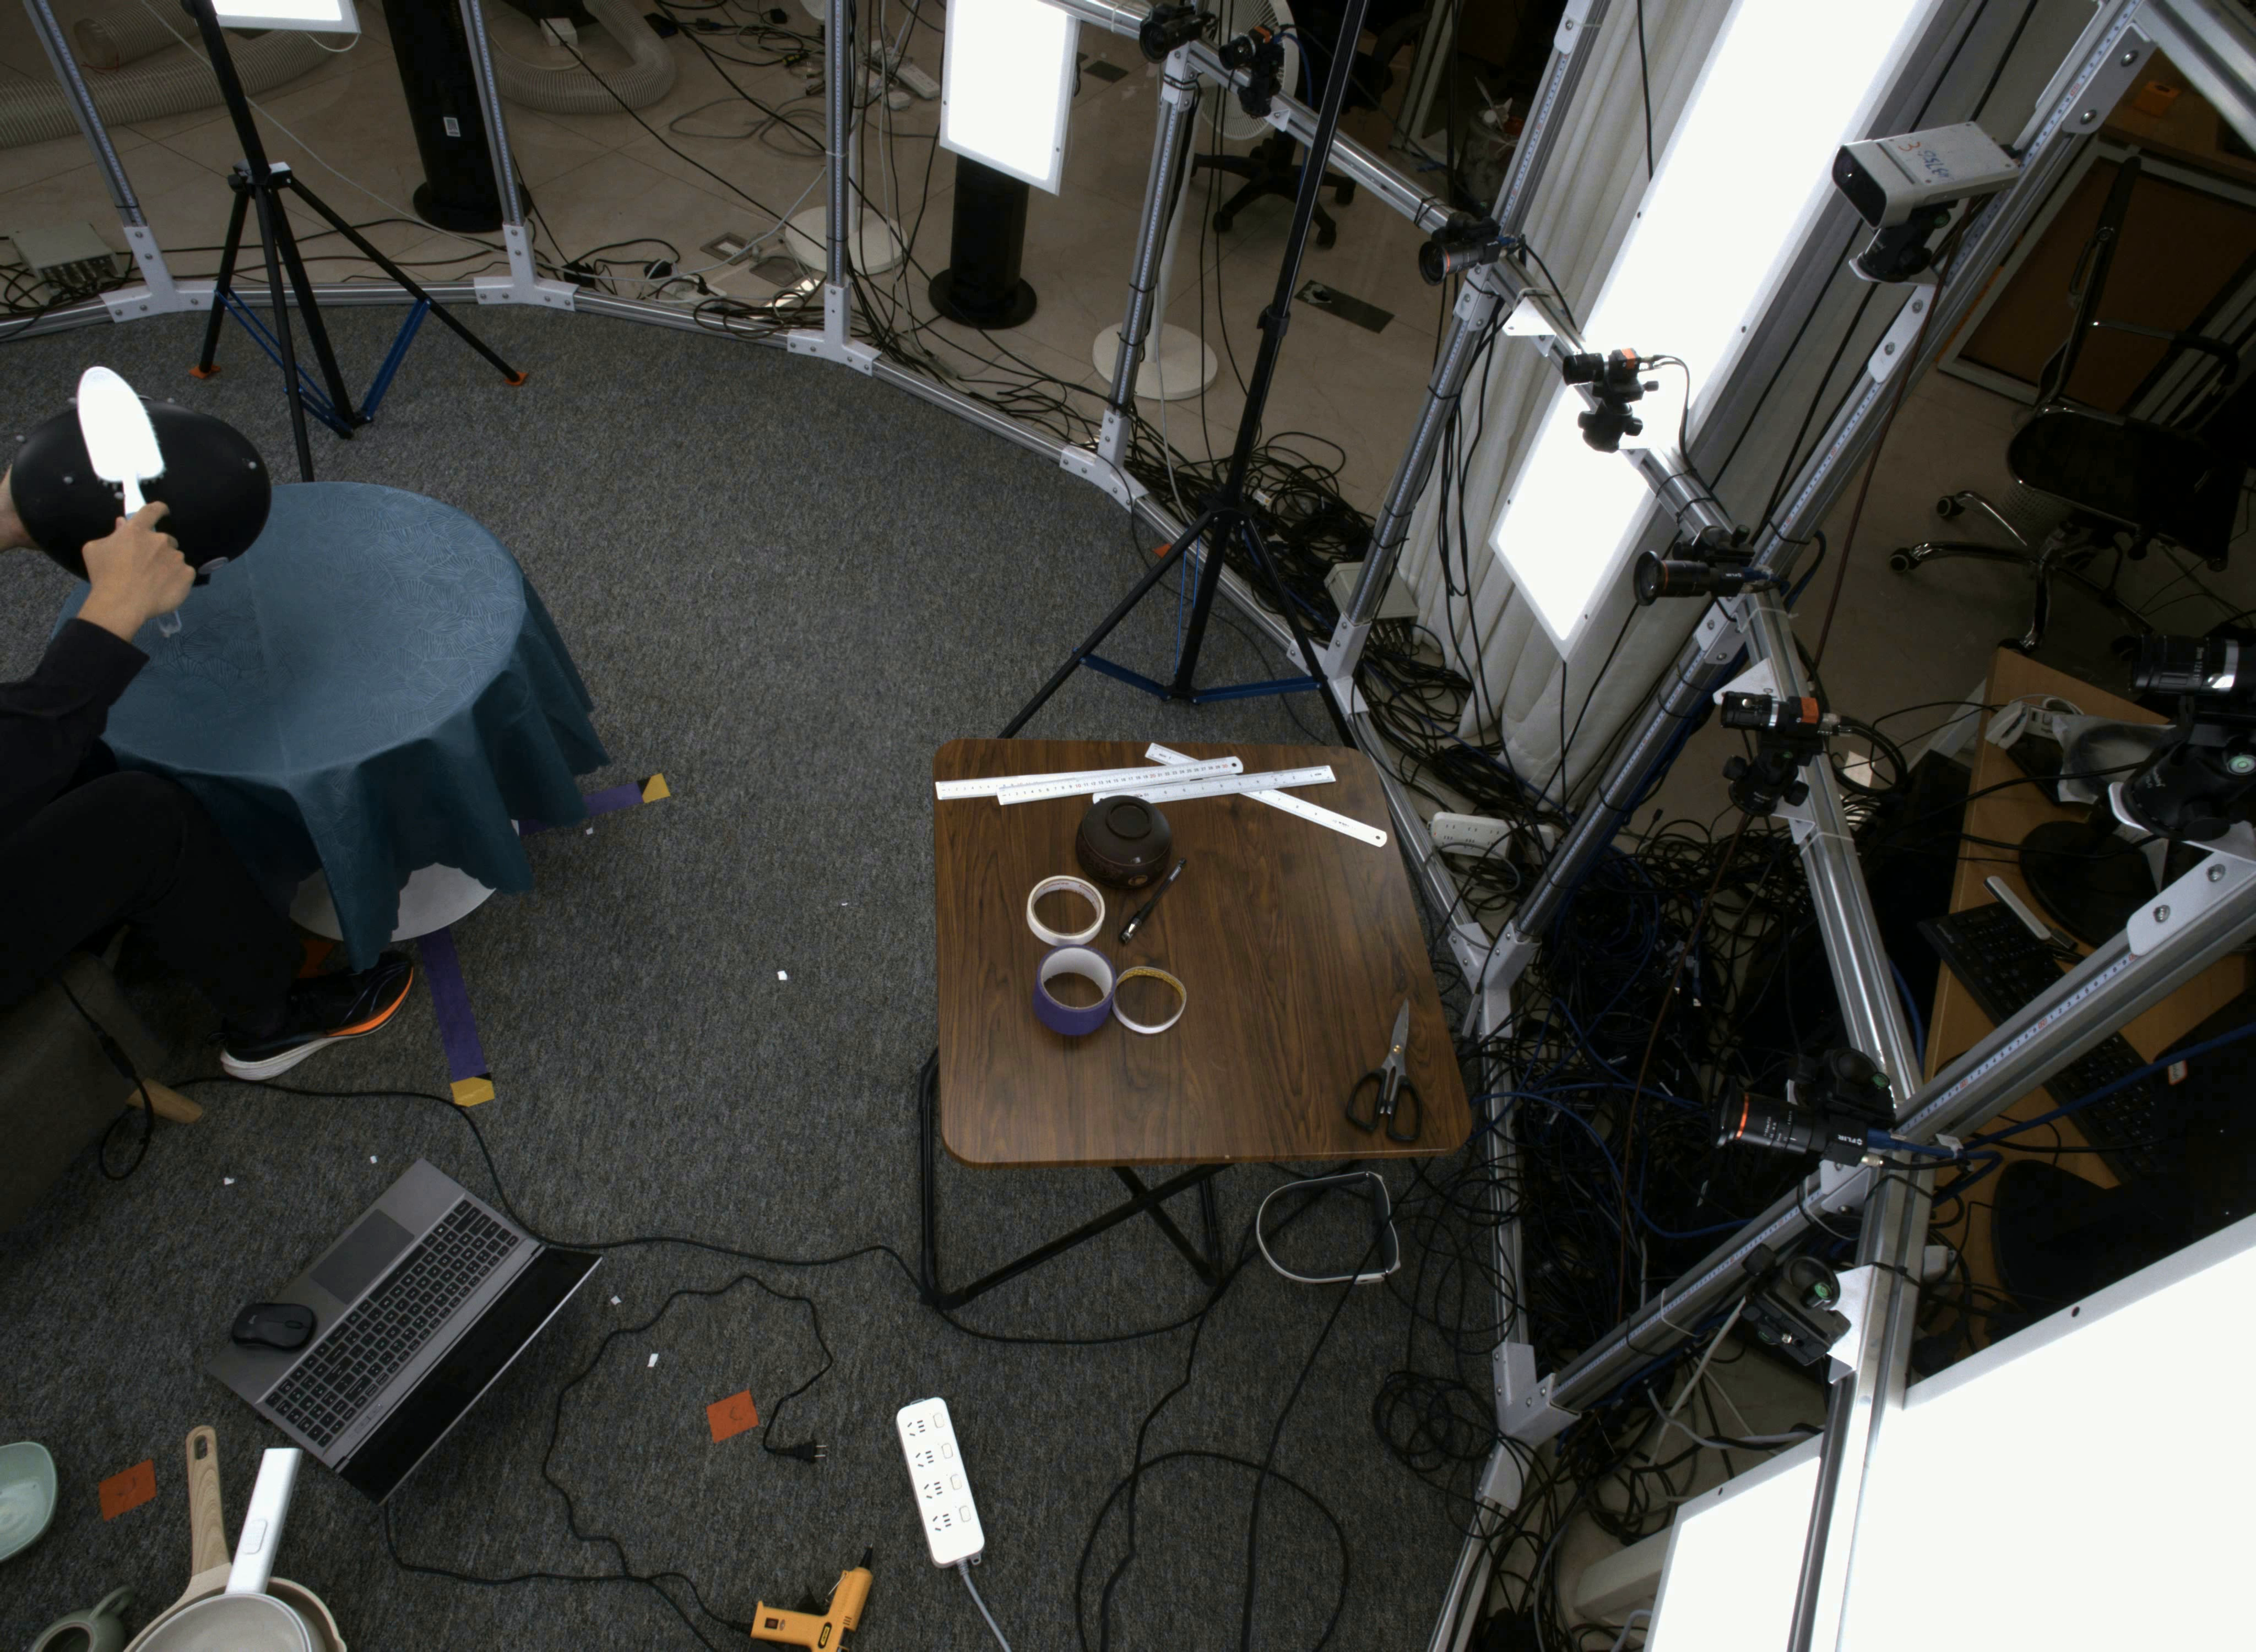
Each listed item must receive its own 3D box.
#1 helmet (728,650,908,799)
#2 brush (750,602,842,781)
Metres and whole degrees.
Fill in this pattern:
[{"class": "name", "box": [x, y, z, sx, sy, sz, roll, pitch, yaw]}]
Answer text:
[{"class": "helmet", "box": [-0.481, -0.169, 1.935, 0.267, 0.172, 0.227, -4, 63, 12]}, {"class": "brush", "box": [-0.466, -0.174, 1.802, 0.081, 0.088, 0.321, -15, 48, 31]}]
